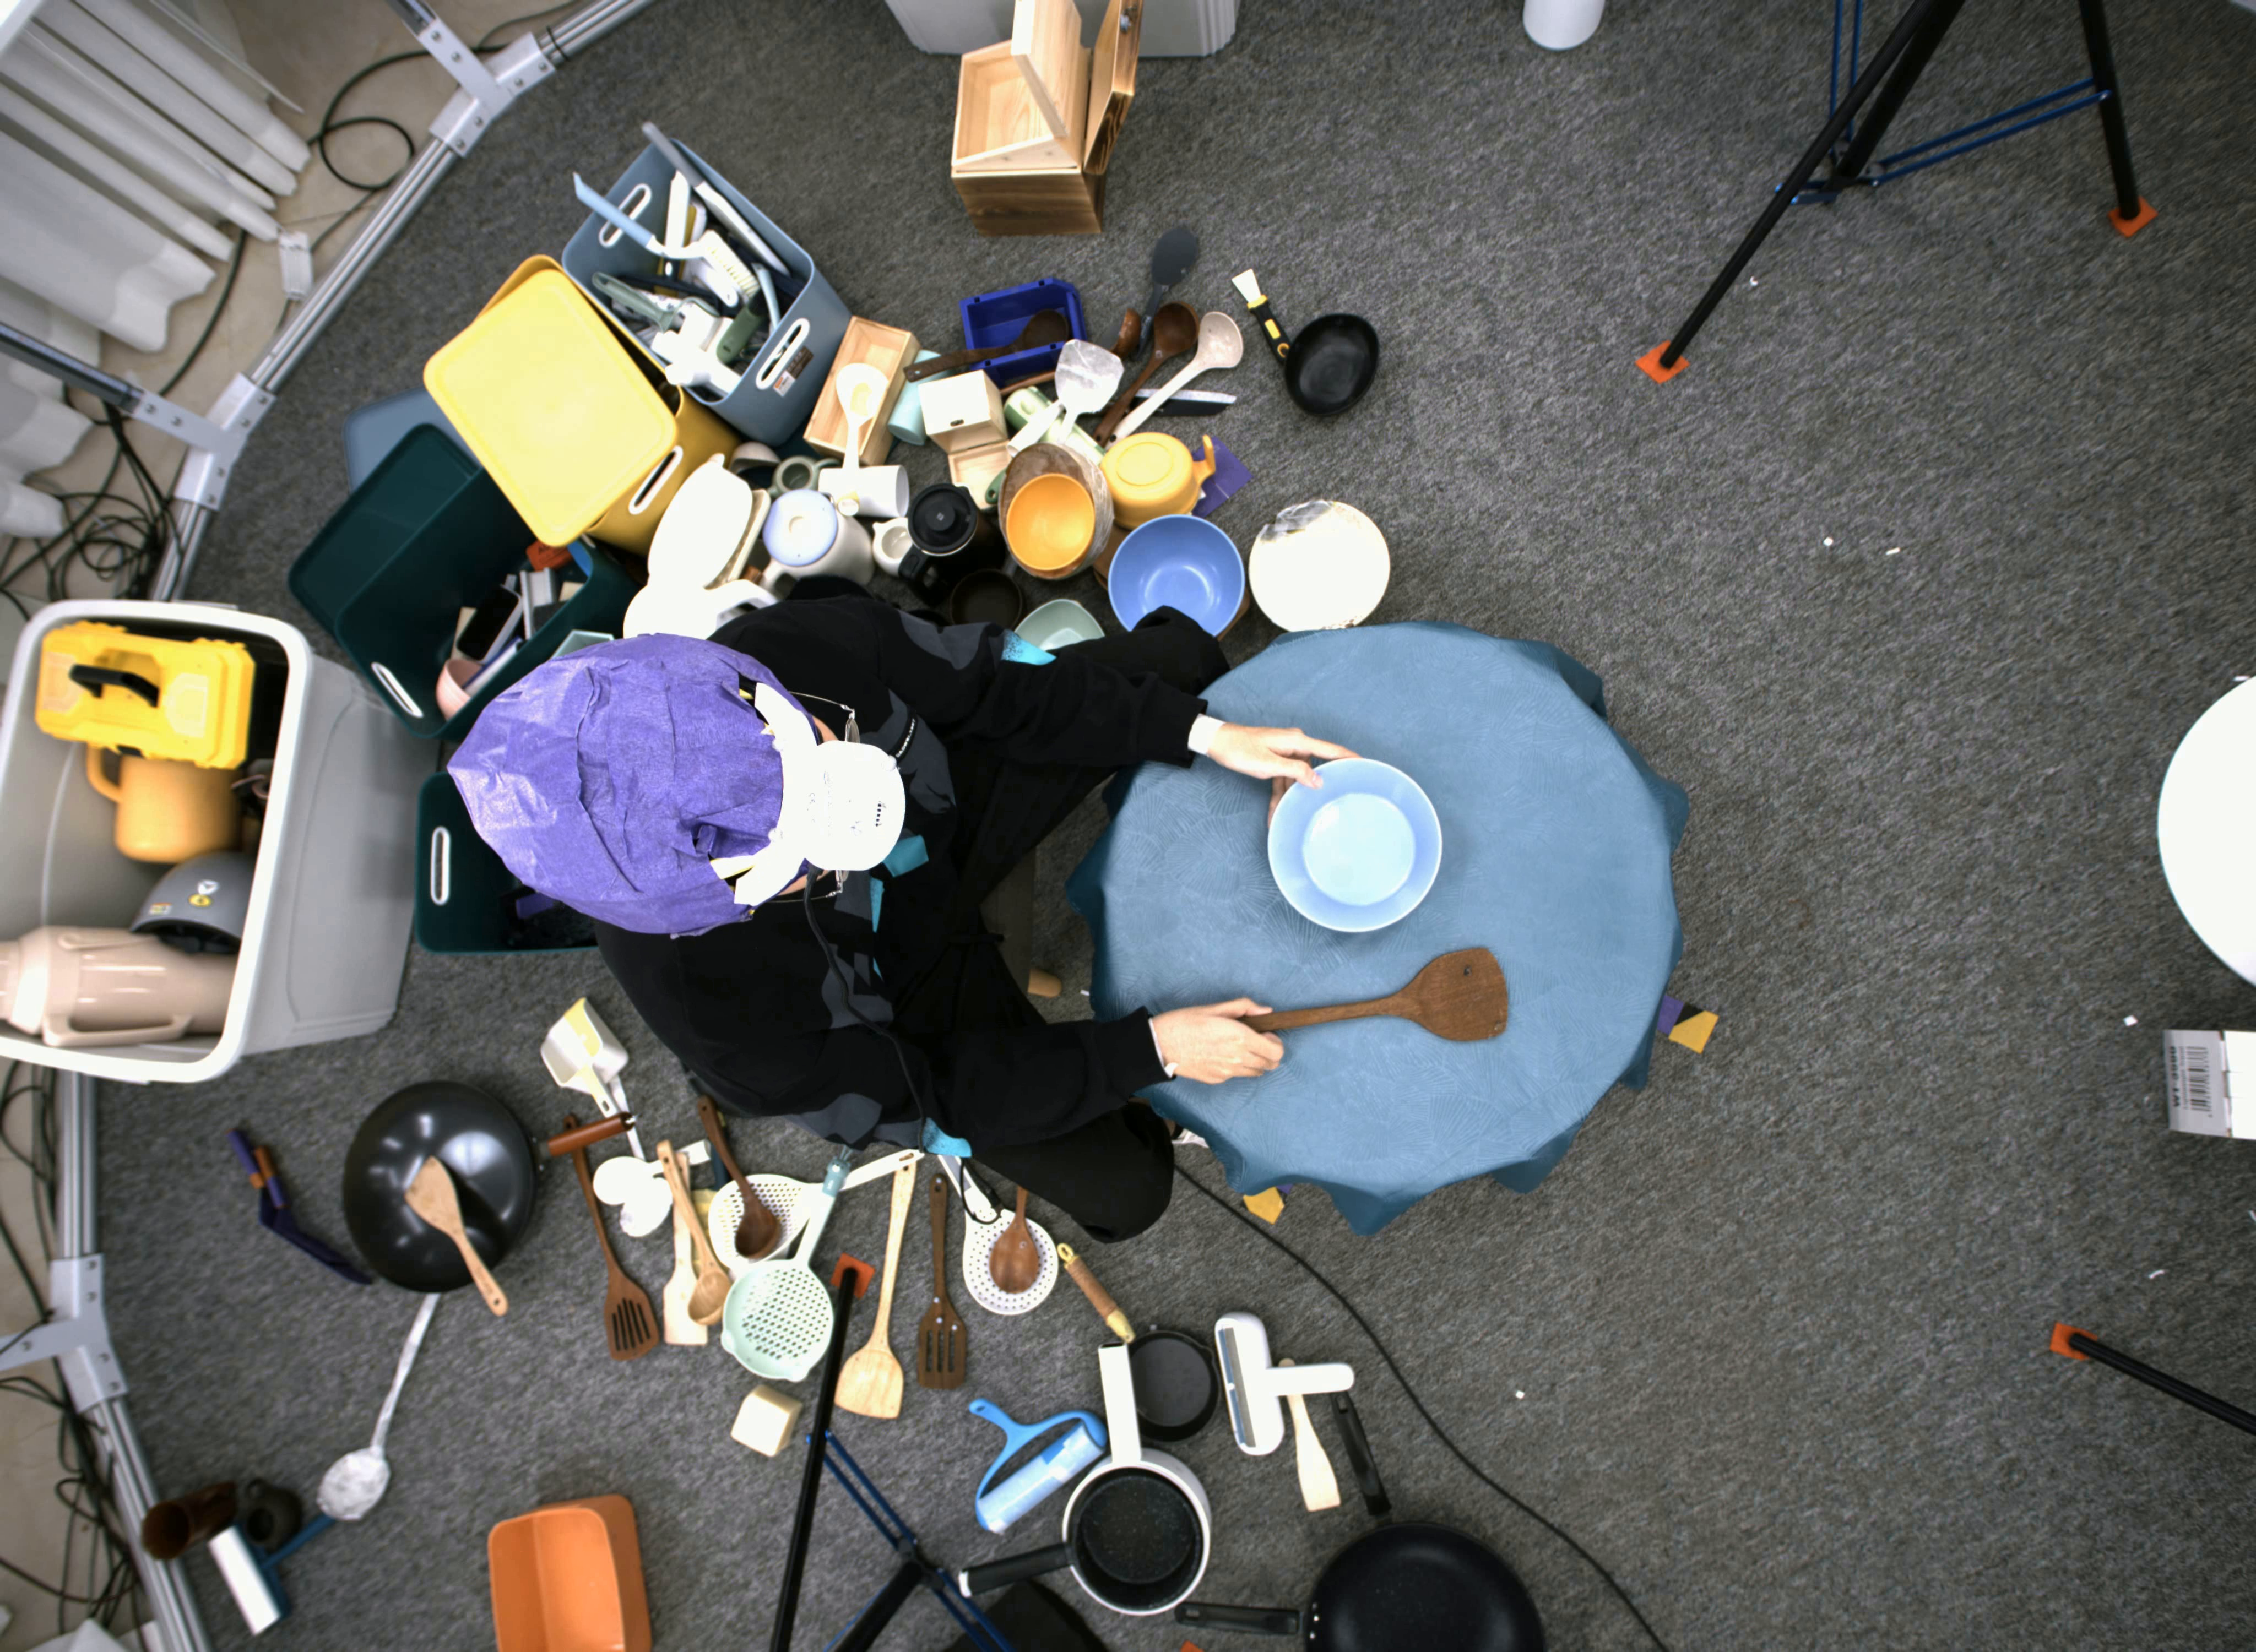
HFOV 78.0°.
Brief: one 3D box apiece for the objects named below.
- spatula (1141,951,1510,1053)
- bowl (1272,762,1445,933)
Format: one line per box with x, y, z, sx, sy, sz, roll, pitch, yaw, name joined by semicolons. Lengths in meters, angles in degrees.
0.205;0.199;1.451;0.387;0.016;0.095;-8;83;5;spatula
0.241;0.024;1.432;0.177;0.070;0.175;-1;86;16;bowl
